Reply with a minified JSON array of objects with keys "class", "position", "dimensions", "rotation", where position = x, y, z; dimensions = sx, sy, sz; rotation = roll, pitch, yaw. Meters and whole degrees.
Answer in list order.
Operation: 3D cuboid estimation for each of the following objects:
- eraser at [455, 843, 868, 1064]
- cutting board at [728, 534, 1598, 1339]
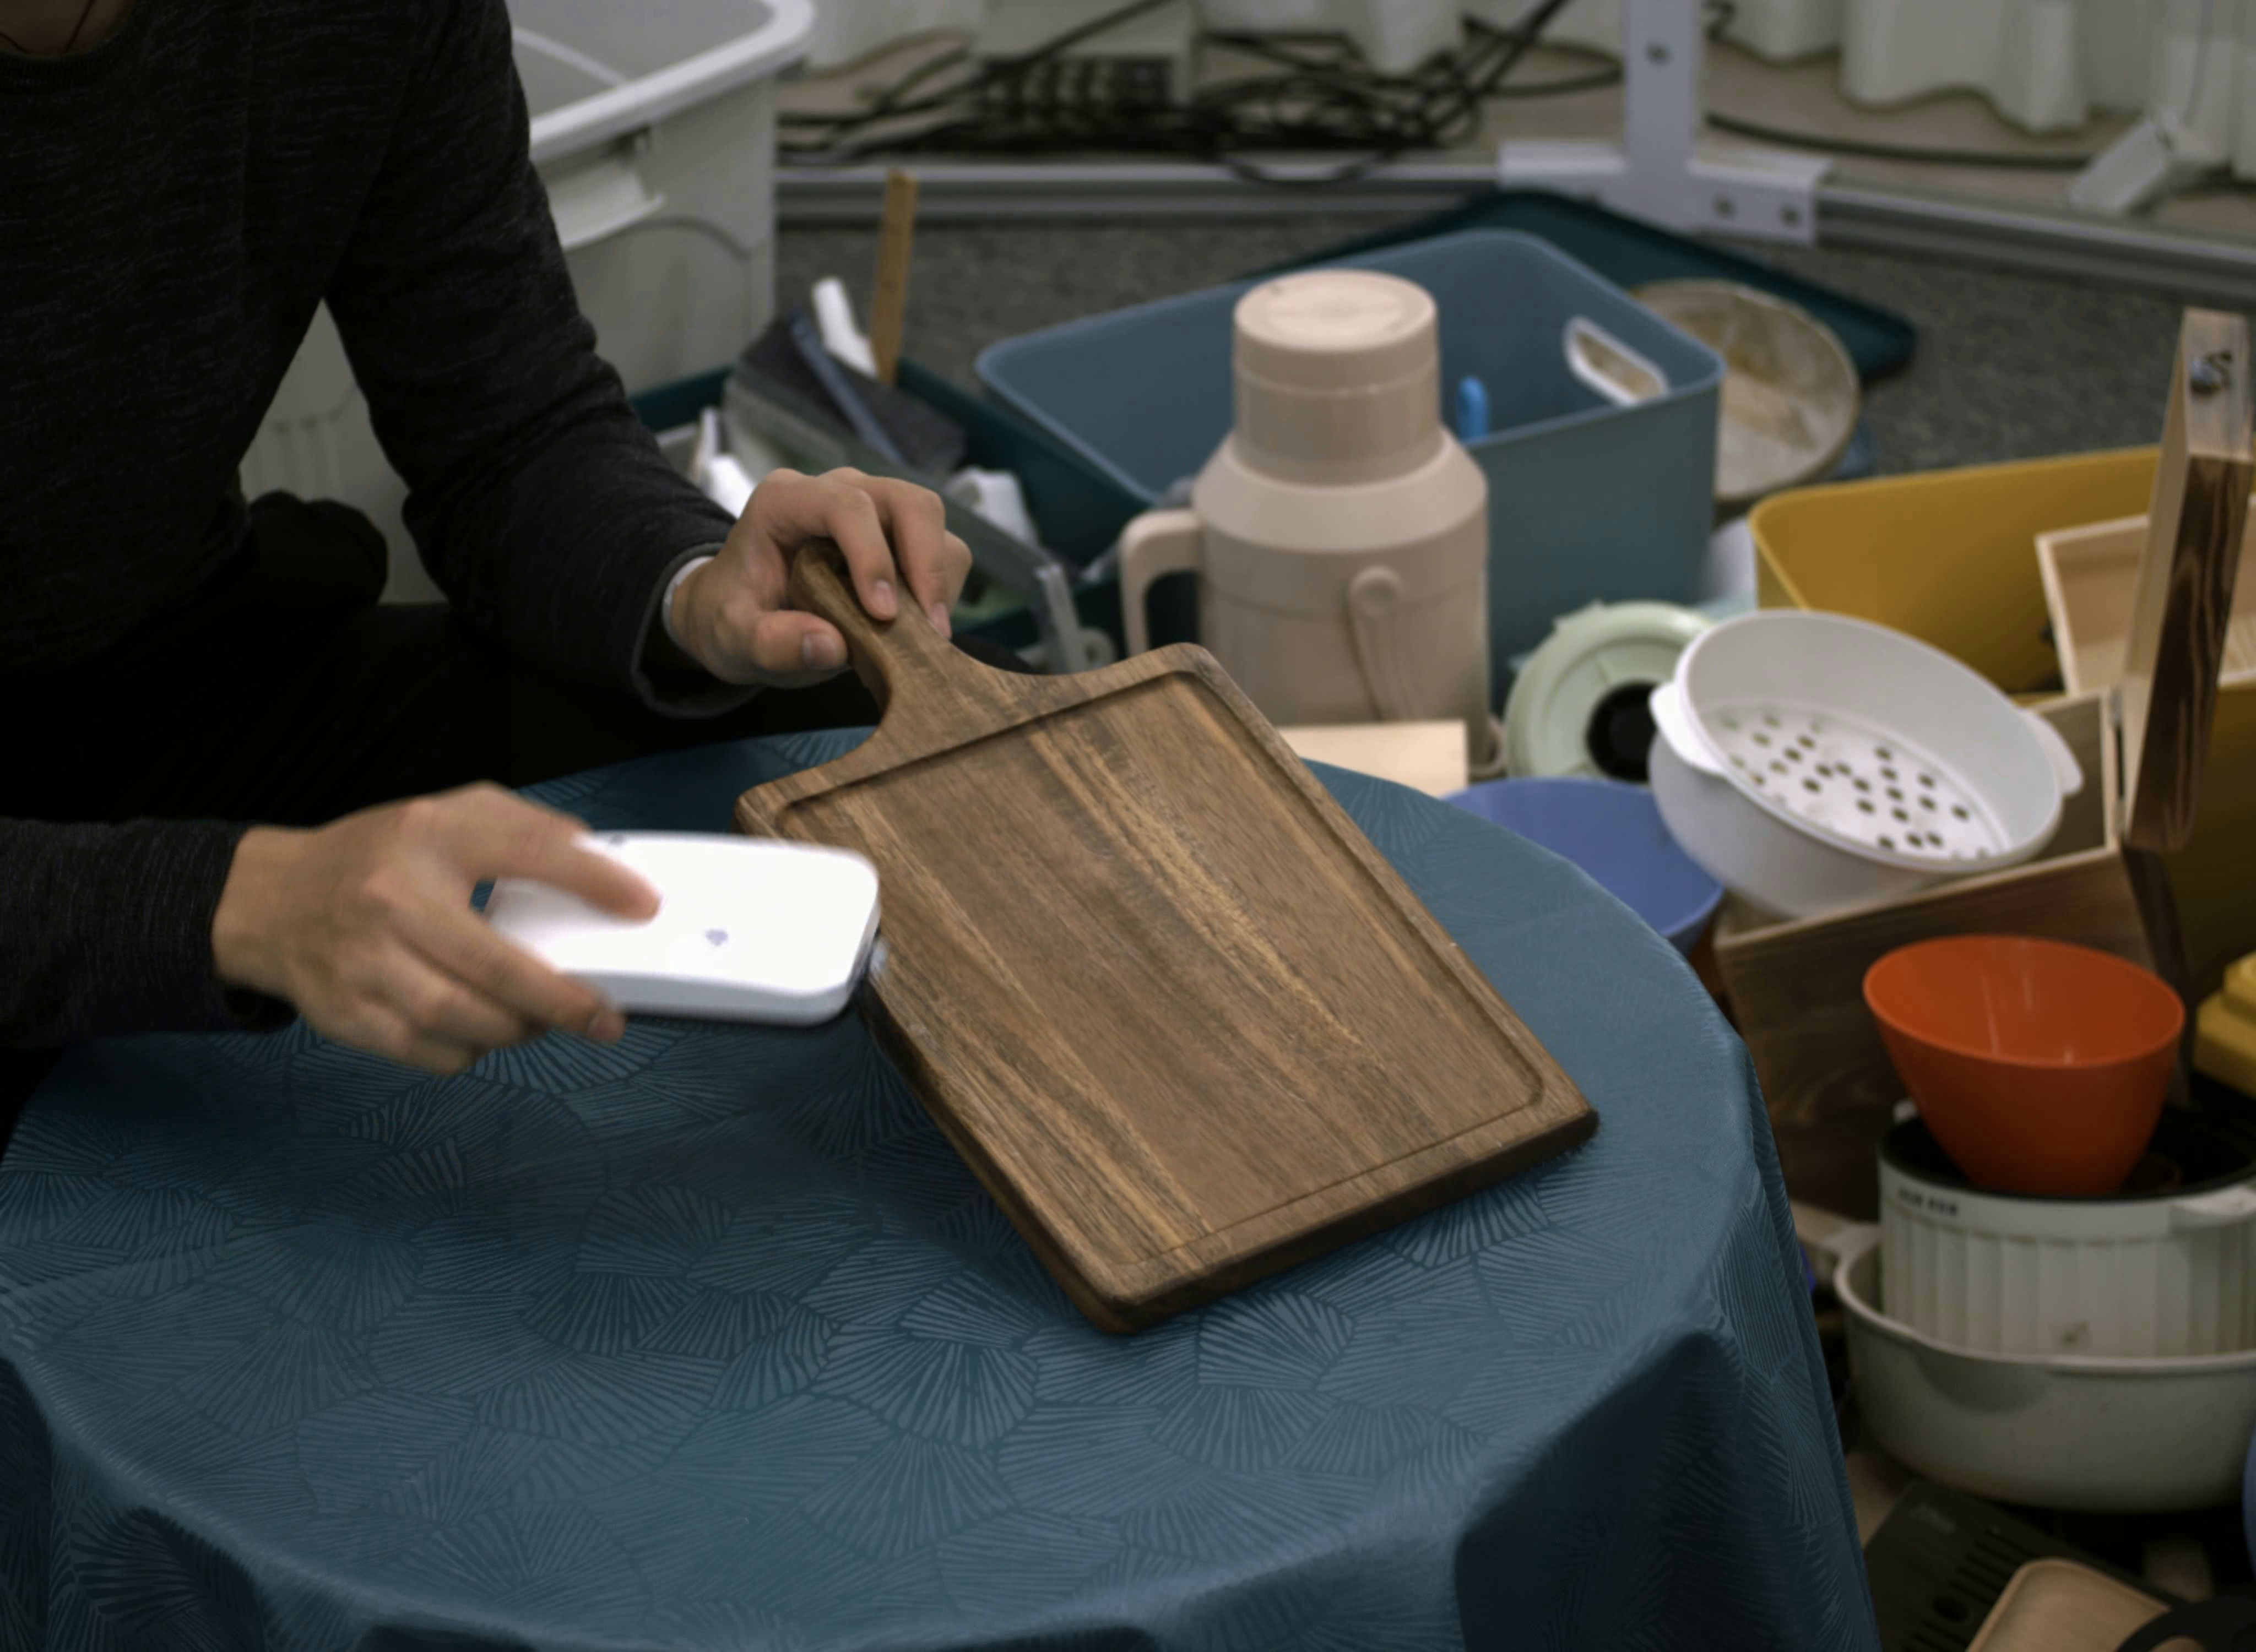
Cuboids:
[{"class":"eraser","position":[-0.150,0.041,1.821],"dimensions":[0.130,0.034,0.065],"rotation":[6,45,17]},{"class":"cutting board","position":[-0.016,0.016,1.916],"dimensions":[0.202,0.023,0.355],"rotation":[-19,51,-28]}]
